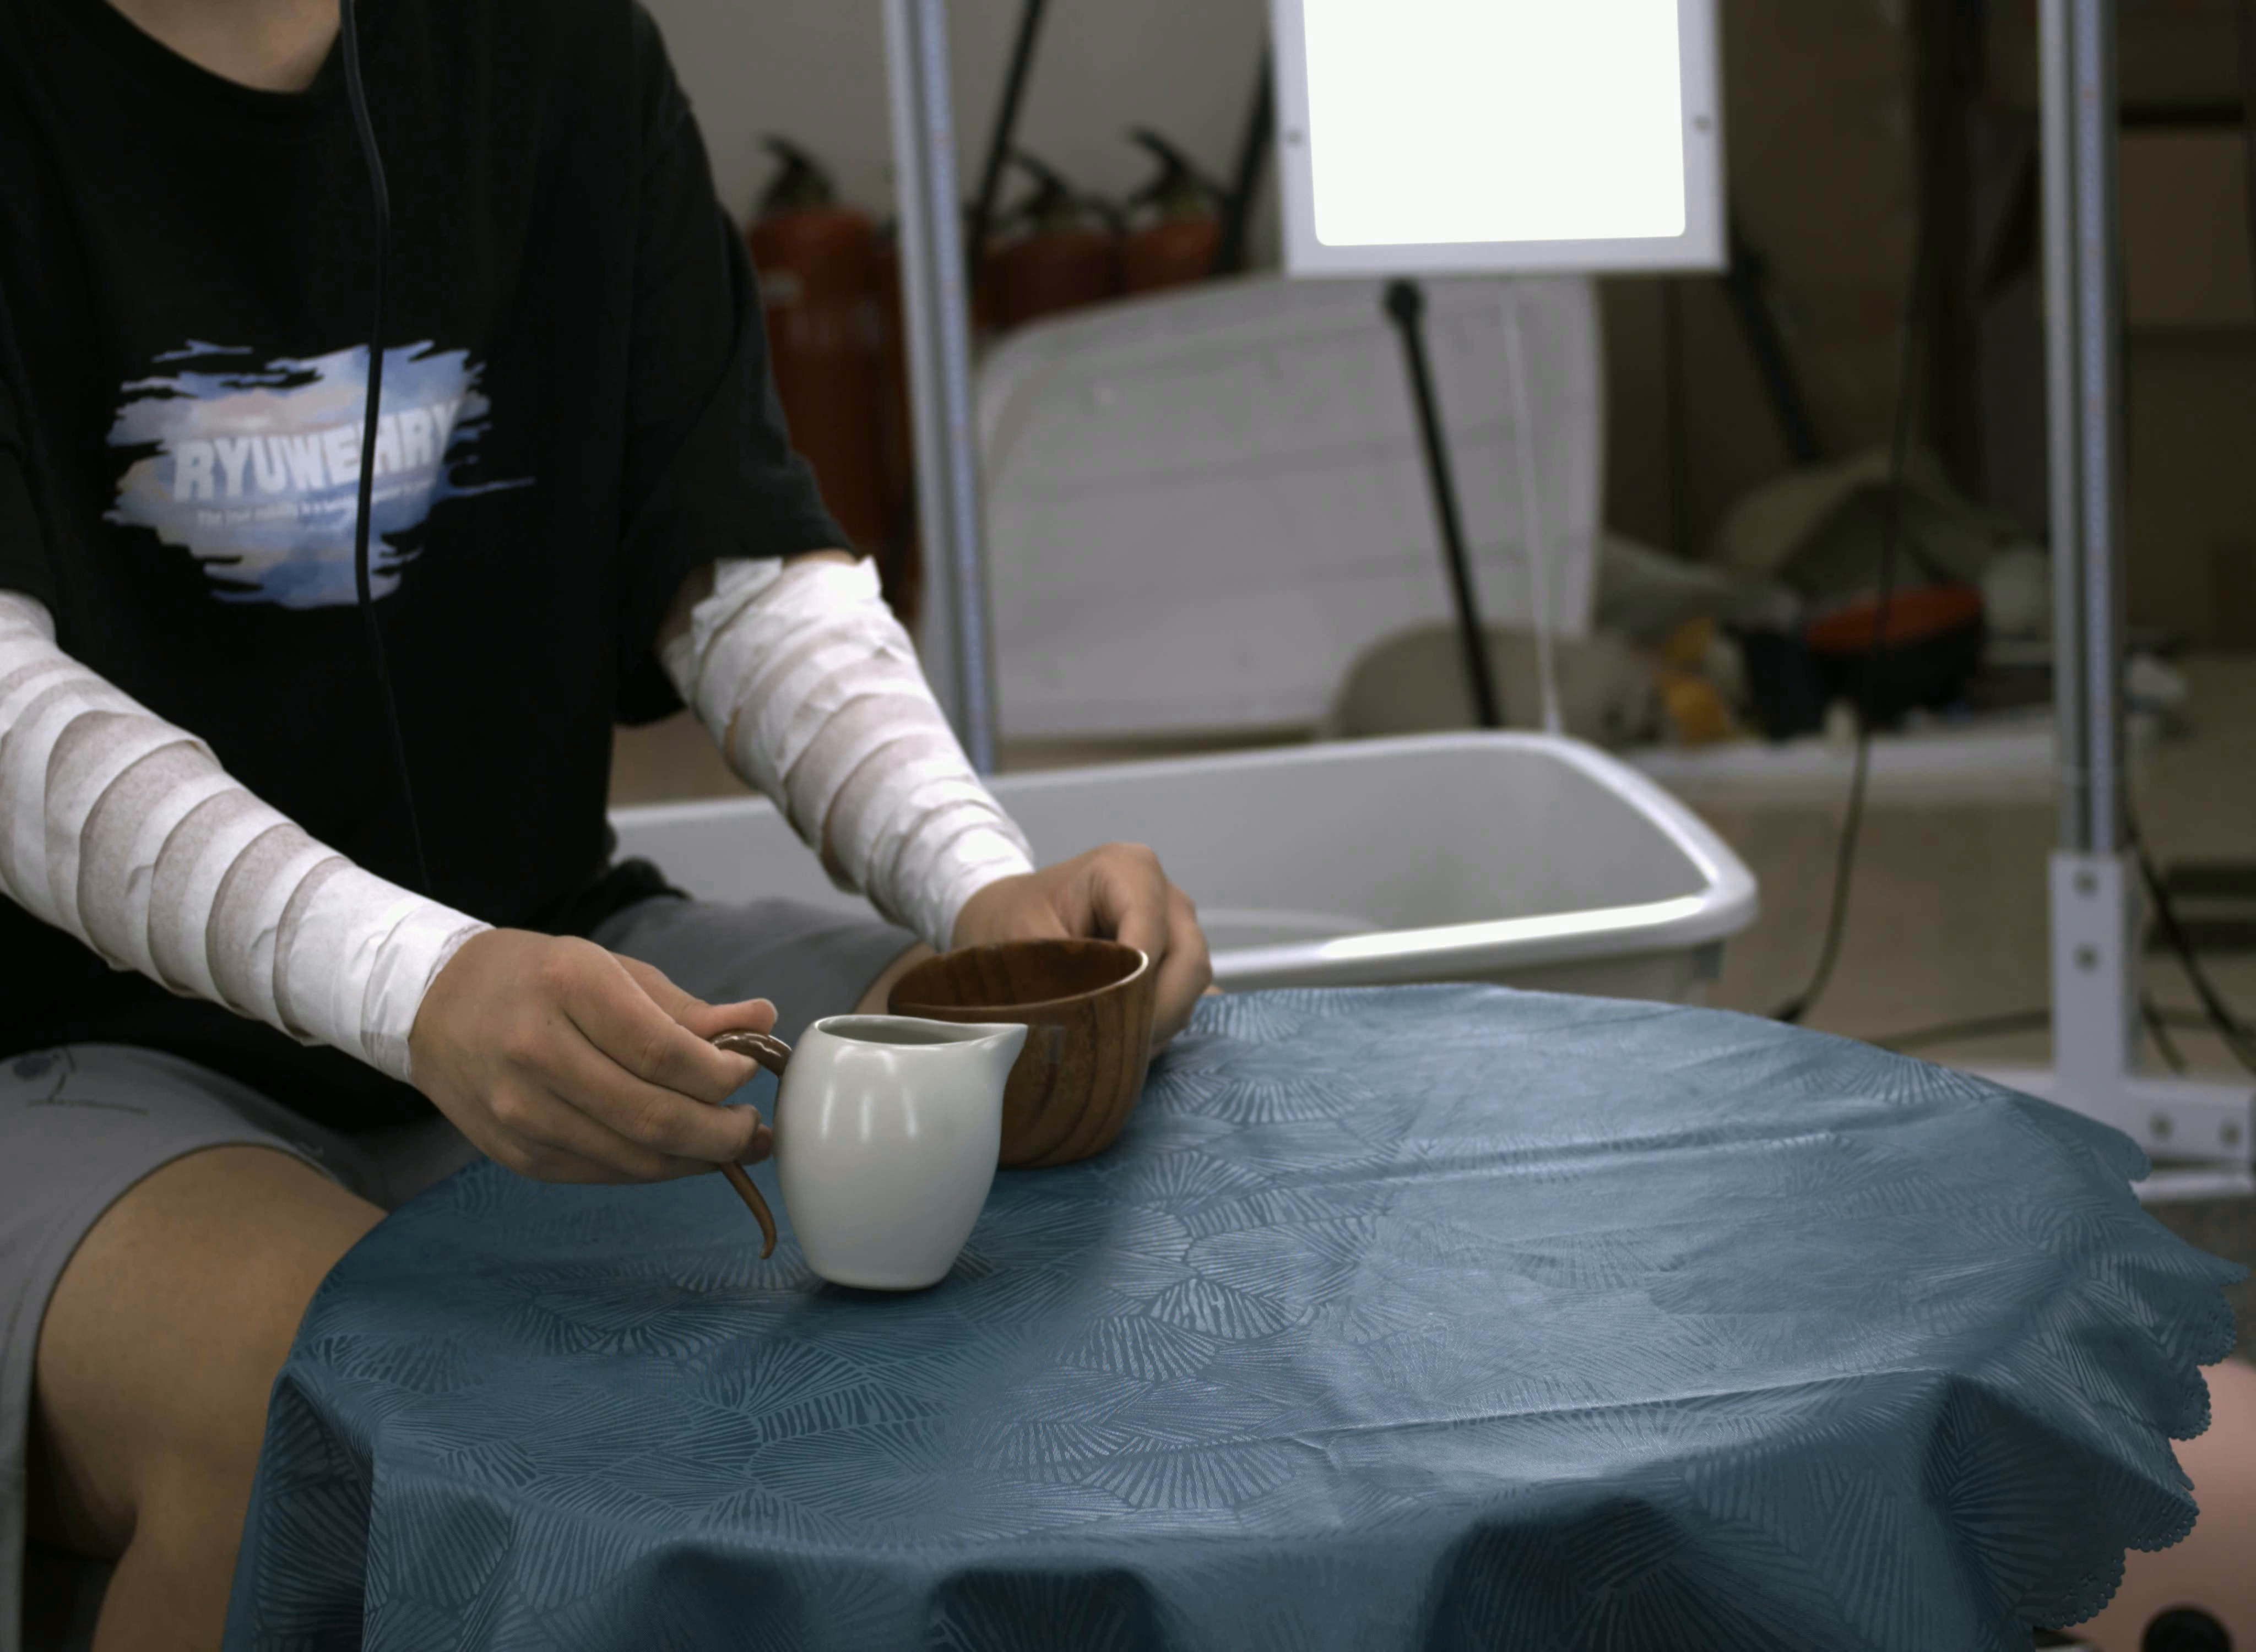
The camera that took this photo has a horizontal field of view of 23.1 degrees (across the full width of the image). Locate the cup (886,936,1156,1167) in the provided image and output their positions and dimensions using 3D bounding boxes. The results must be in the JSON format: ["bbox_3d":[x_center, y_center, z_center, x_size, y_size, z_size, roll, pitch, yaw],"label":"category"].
[{"bbox_3d":[-0.030,0.079,1.967,0.098,0.068,0.117,-2,12,27],"label":"cup"}]

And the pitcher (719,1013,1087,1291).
[{"bbox_3d":[-0.078,0.105,1.816,0.118,0.088,0.076,8,4,-2],"label":"pitcher"}]
